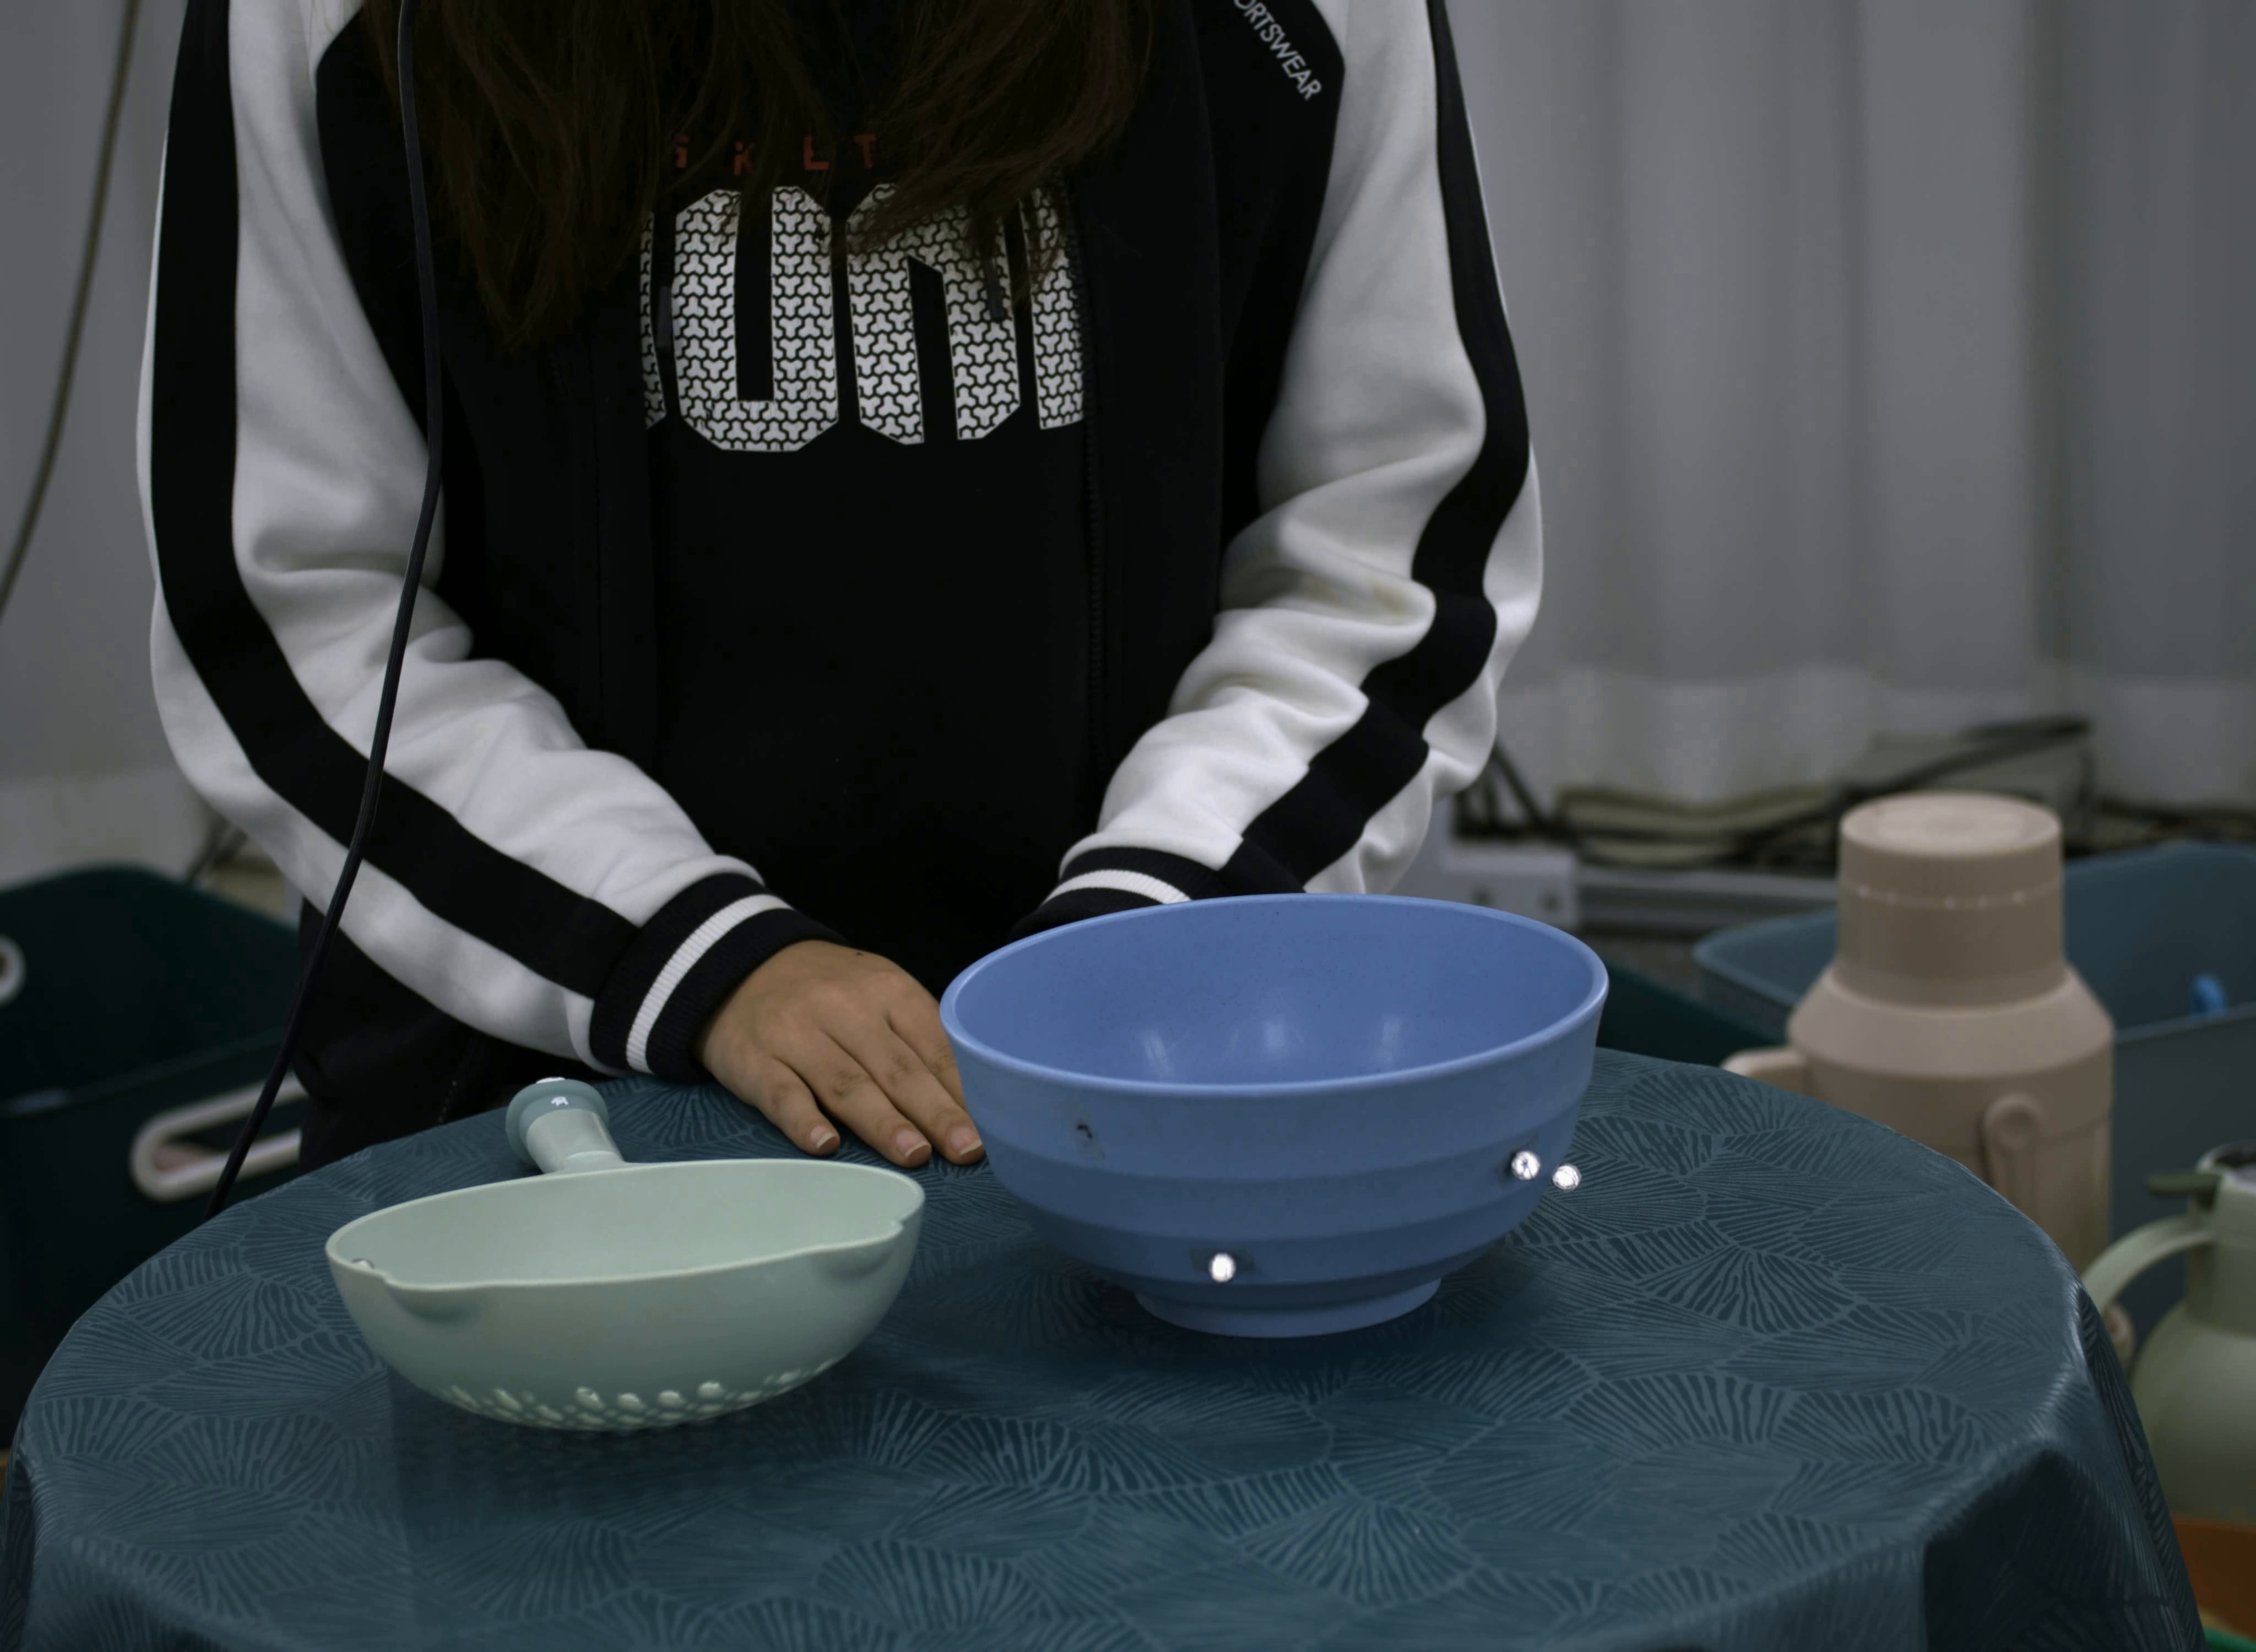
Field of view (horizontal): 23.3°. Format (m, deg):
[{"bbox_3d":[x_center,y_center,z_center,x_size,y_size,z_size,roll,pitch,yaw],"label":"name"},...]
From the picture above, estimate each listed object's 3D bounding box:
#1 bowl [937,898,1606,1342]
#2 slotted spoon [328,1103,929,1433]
[{"bbox_3d":[0.044,0.092,1.610,0.196,0.095,0.198,-4,14,1],"label":"bowl"},{"bbox_3d":[-0.157,0.115,1.632,0.168,0.075,0.361,-4,13,-10],"label":"slotted spoon"}]
